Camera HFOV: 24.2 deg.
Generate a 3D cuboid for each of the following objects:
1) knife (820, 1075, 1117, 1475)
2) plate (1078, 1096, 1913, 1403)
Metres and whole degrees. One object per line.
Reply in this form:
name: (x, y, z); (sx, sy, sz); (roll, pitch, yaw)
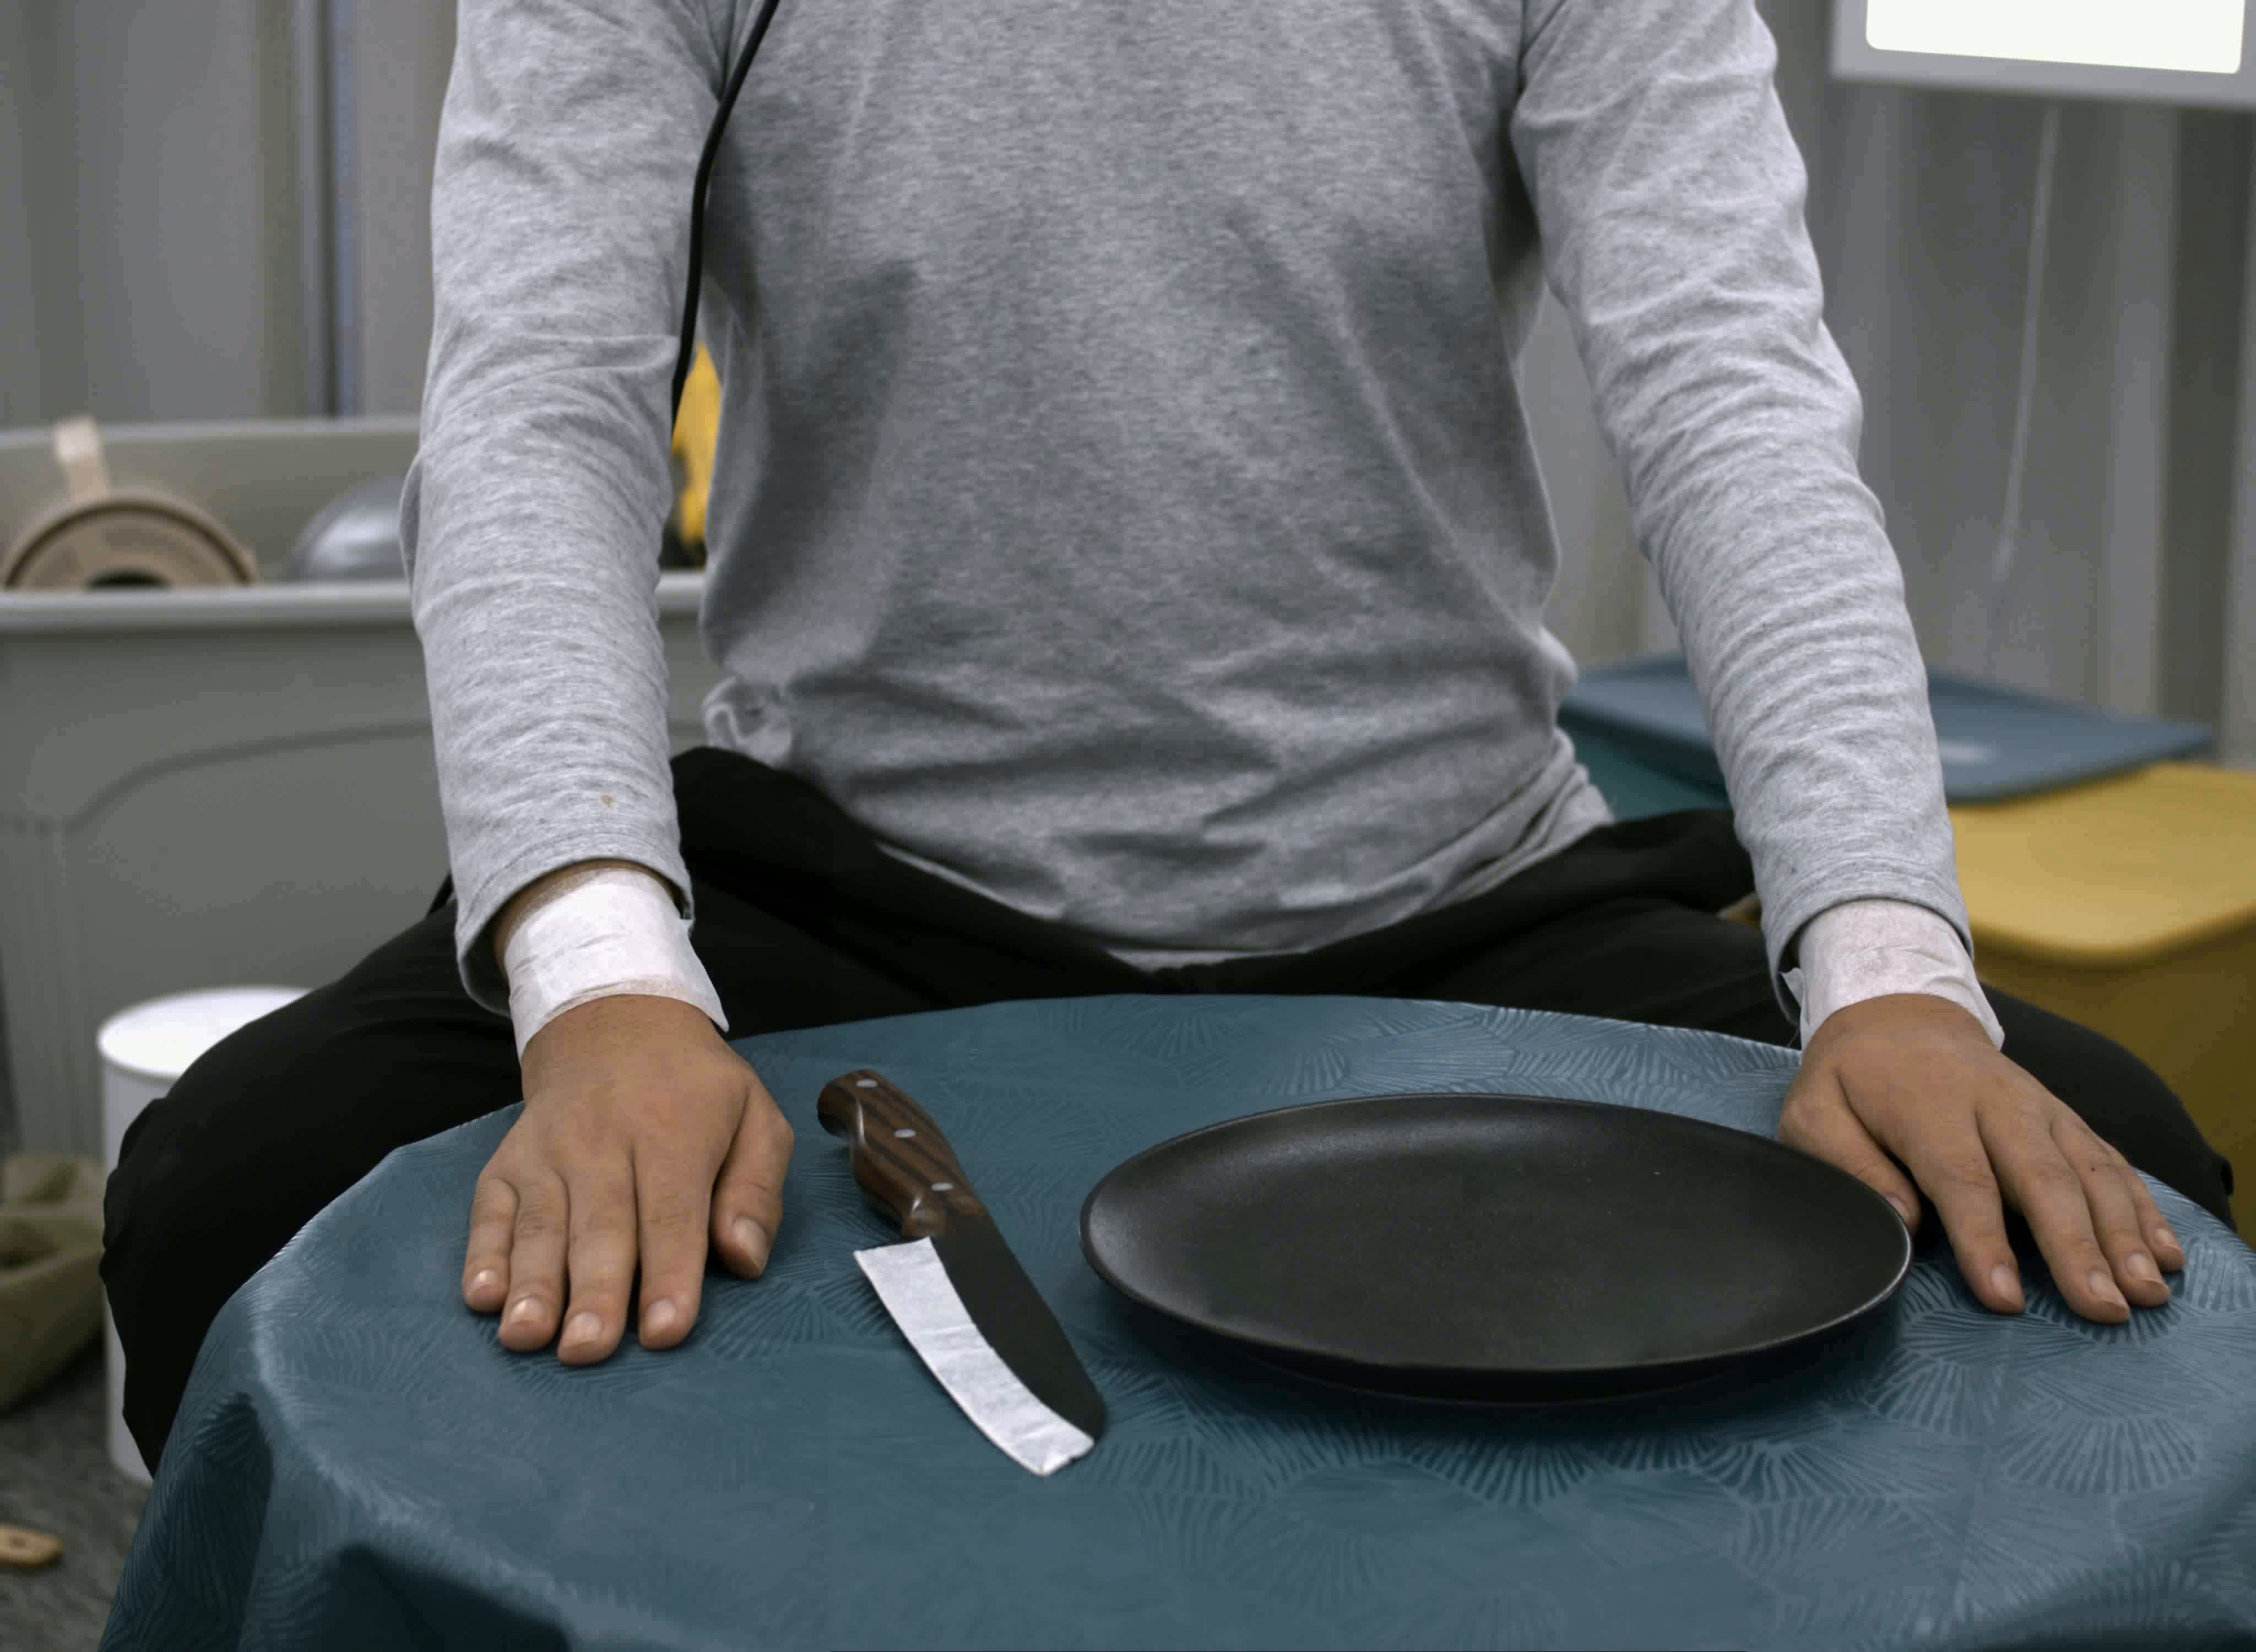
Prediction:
knife: (-0.052, 0.130, 1.534); (0.050, 0.020, 0.286); (-8, 19, -12)
plate: (0.106, 0.126, 1.538); (0.243, 0.023, 0.243); (1, 15, 0)
